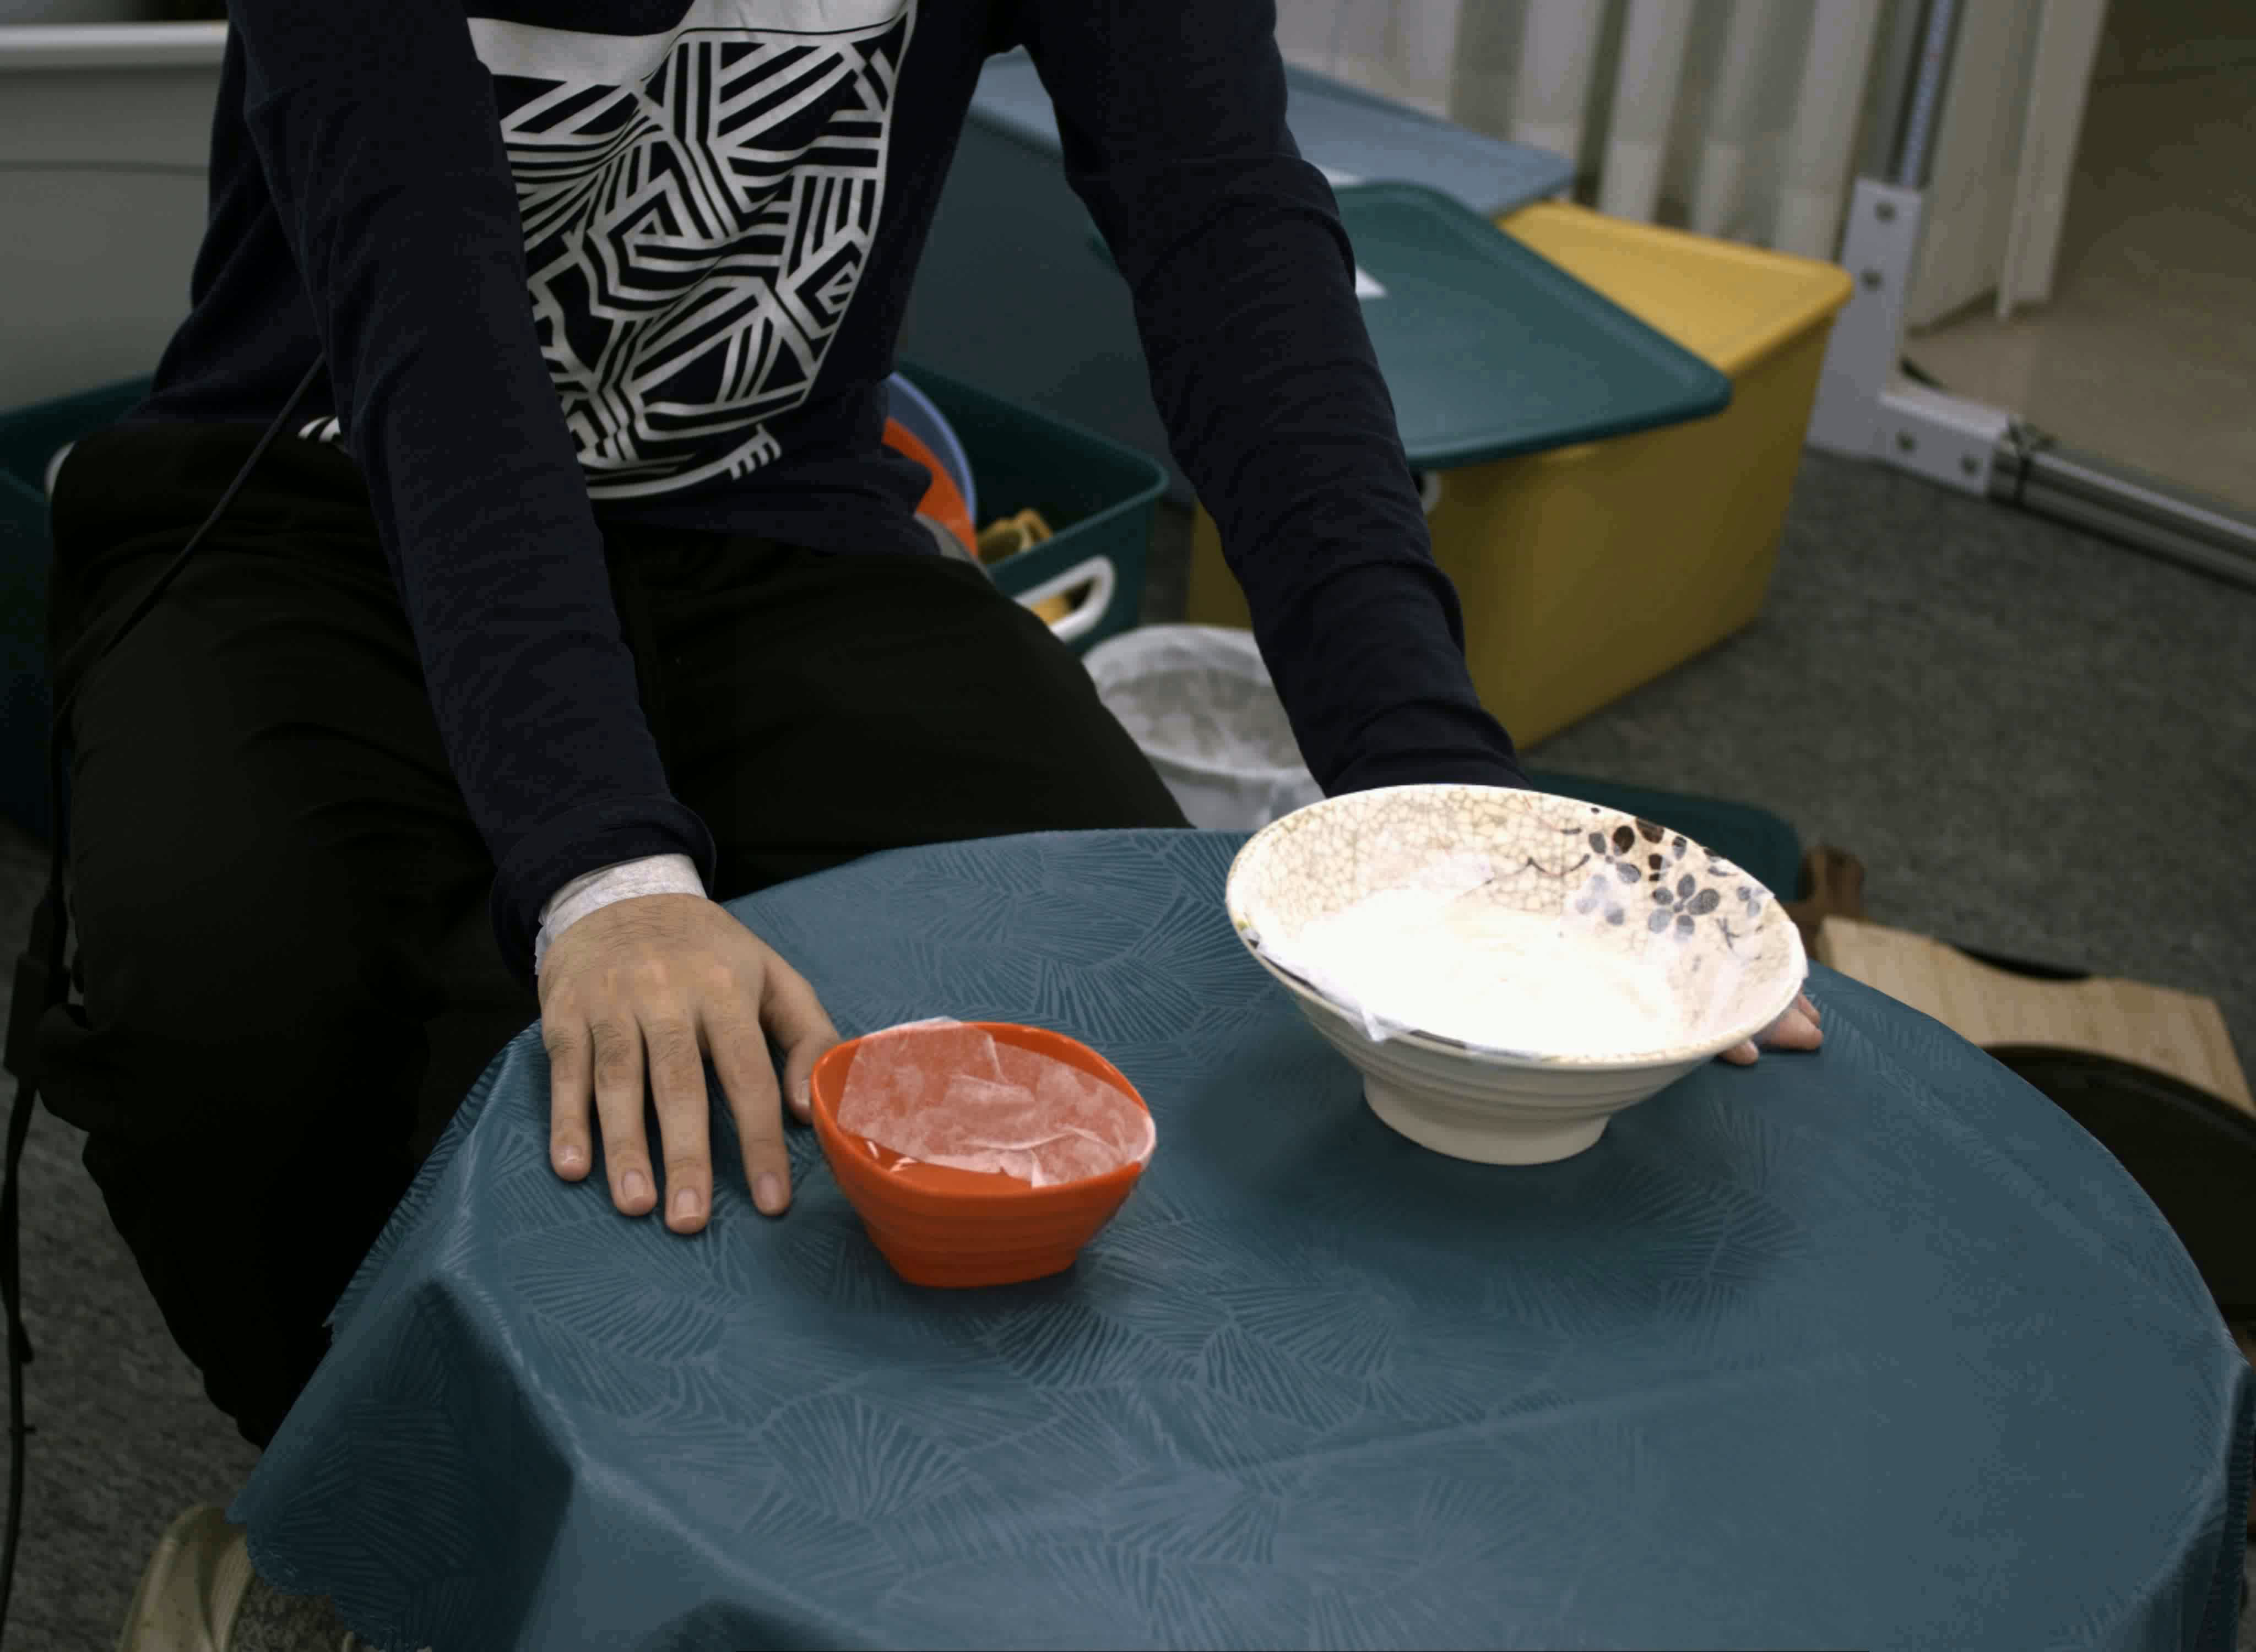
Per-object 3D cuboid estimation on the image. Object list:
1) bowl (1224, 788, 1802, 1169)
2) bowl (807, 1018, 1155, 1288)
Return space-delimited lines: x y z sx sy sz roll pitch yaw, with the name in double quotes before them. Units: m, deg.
"bowl" 0.130 0.065 1.867 0.203 0.078 0.205 6 26 -3
"bowl" -0.051 0.112 1.760 0.118 0.051 0.119 4 27 -3
